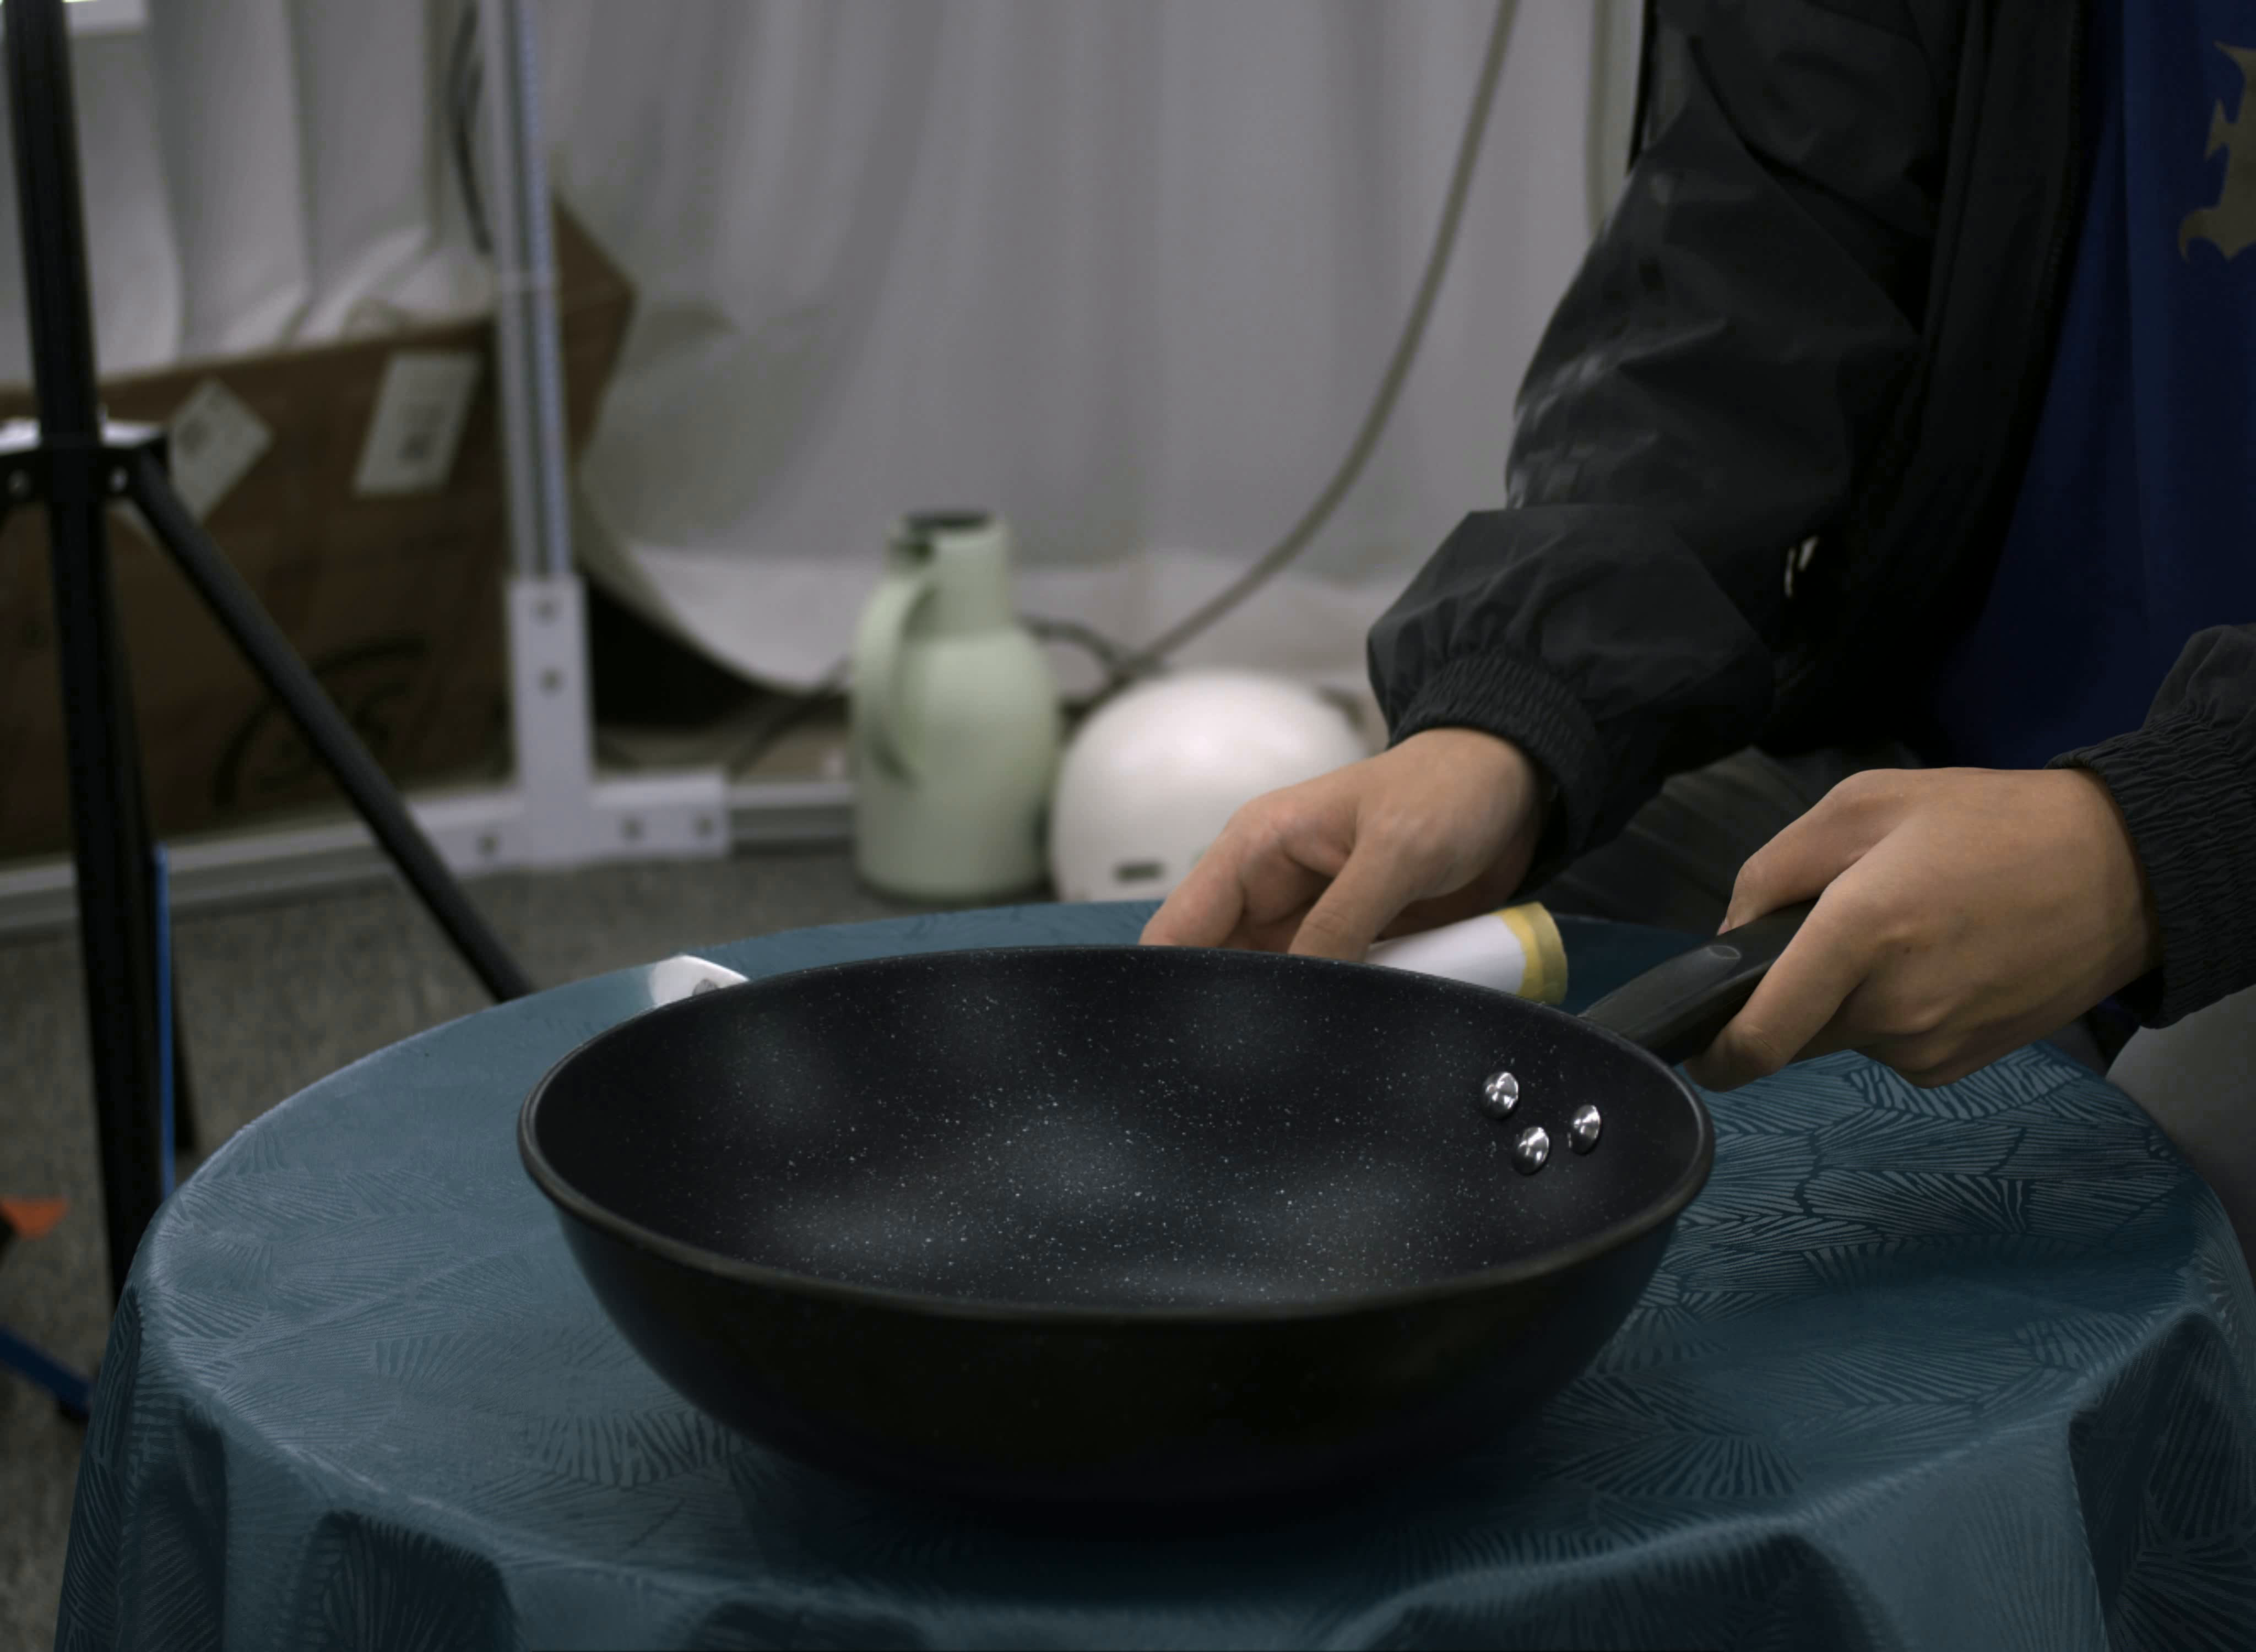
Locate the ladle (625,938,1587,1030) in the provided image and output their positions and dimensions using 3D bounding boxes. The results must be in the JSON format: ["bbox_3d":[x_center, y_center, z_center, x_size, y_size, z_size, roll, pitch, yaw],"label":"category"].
[{"bbox_3d":[-0.005,0.056,1.633,0.289,0.071,0.090,-9,-24,-11],"label":"ladle"}]

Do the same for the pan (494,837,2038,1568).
[{"bbox_3d":[0.060,0.094,1.410,0.466,0.111,0.317,-10,20,-32],"label":"pan"}]
